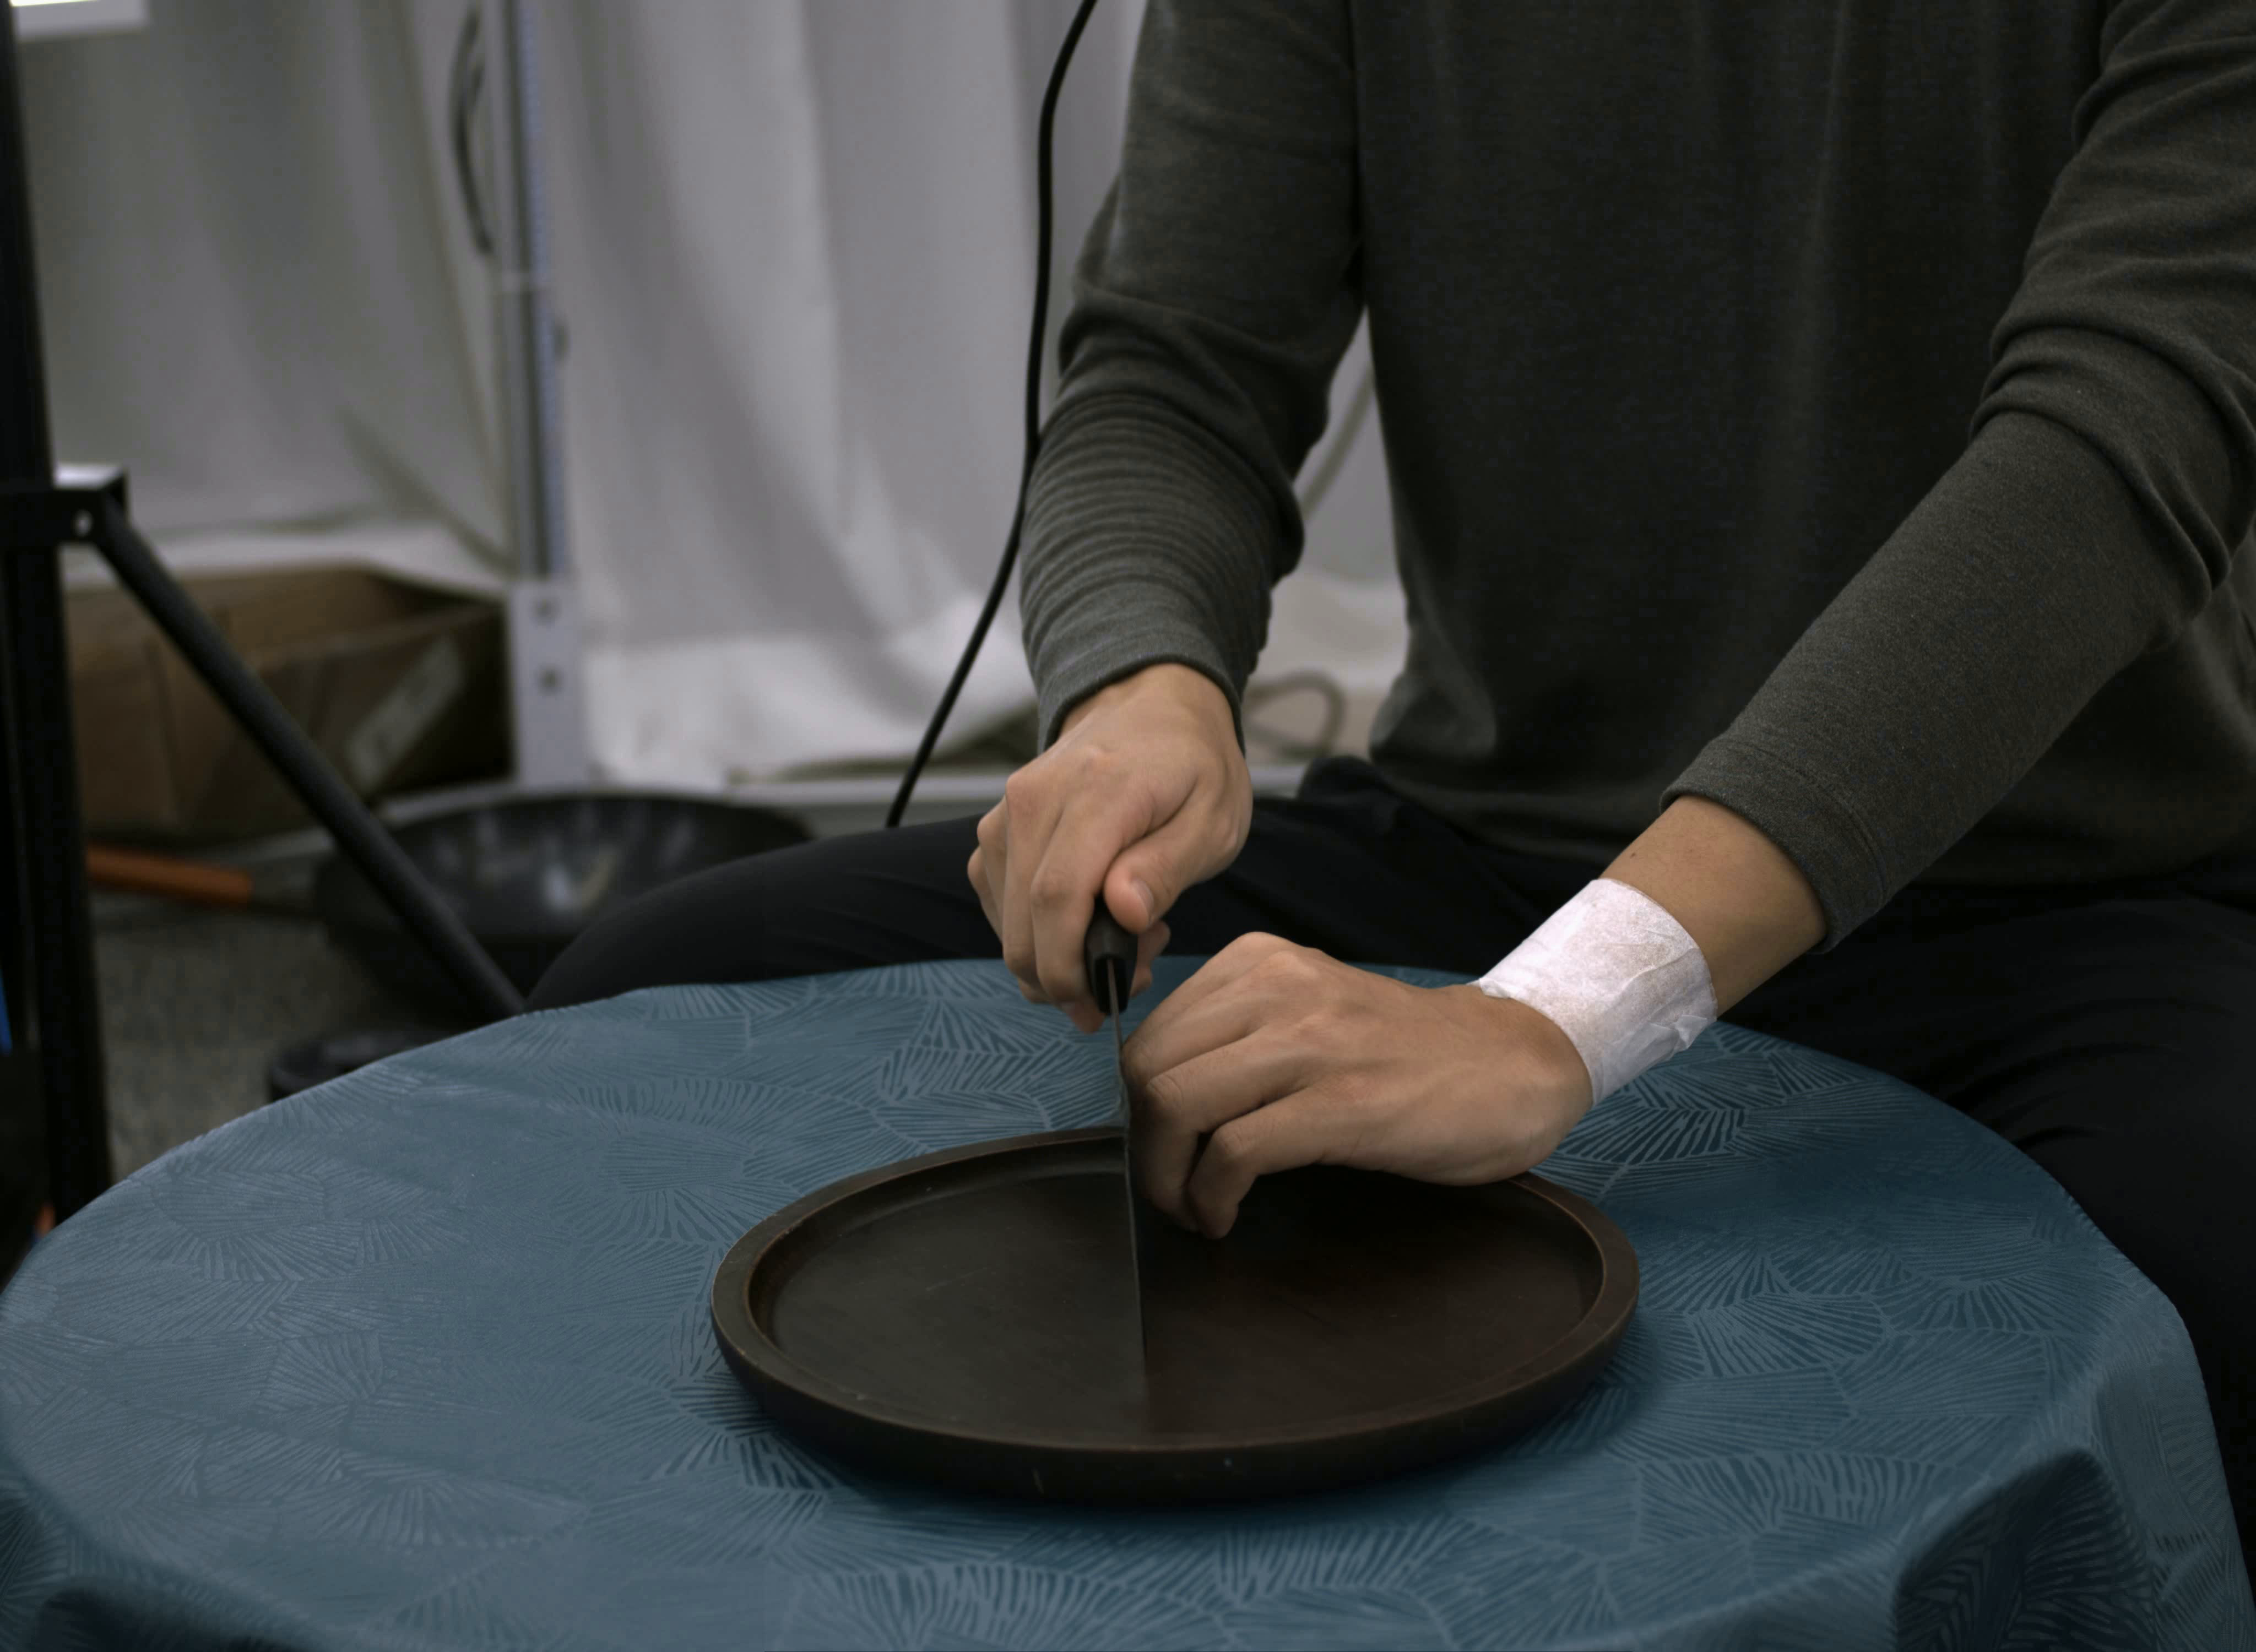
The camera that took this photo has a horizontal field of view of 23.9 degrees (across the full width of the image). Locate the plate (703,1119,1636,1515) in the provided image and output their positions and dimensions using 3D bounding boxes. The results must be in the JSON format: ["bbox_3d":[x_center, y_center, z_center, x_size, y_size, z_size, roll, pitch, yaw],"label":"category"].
[{"bbox_3d":[0.012,0.130,1.440,0.253,0.029,0.256,-4,15,0],"label":"plate"}]

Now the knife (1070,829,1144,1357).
[{"bbox_3d":[-0.002,0.066,1.501,0.021,0.081,0.304,-3,20,-1],"label":"knife"}]
